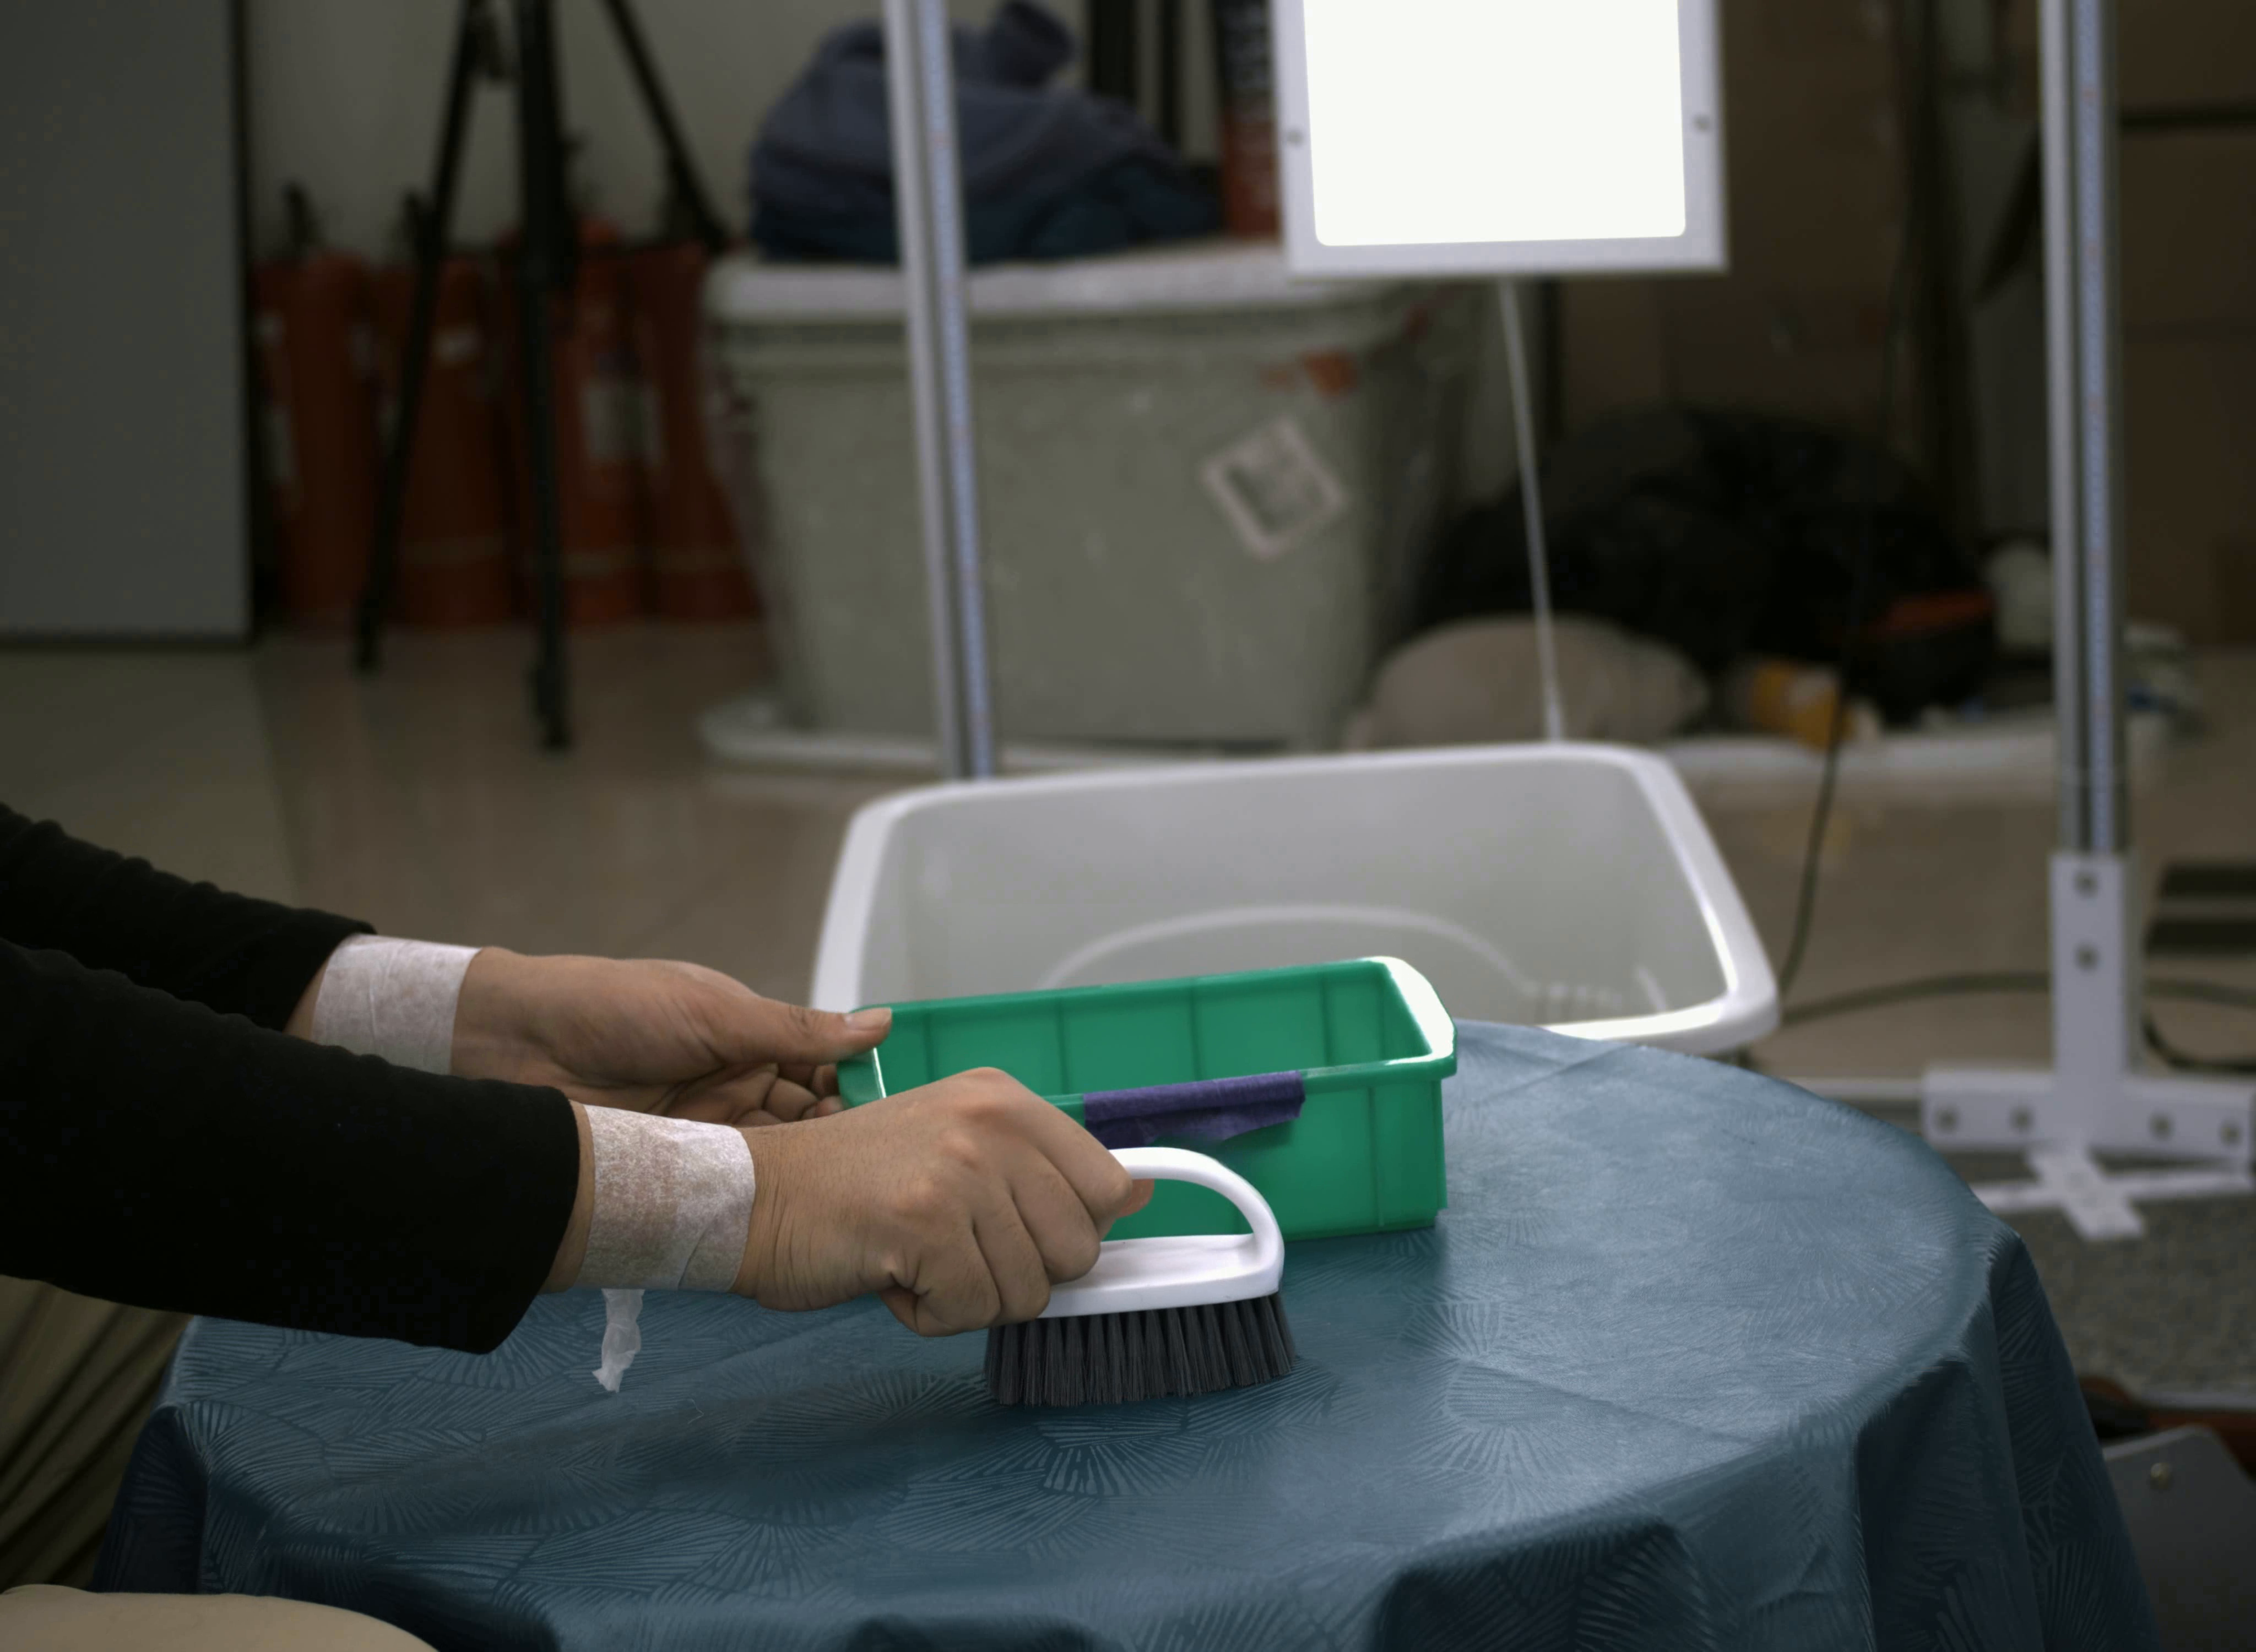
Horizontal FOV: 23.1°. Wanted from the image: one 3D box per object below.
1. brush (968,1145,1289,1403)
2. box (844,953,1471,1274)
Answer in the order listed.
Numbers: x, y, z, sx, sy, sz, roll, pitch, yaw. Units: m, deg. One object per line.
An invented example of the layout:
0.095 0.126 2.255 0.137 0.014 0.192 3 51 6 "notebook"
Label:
-0.001 0.135 1.708 0.099 0.073 0.050 -4 14 4 "brush"
0.011 0.098 1.879 0.209 0.065 0.139 -5 16 -4 "box"
